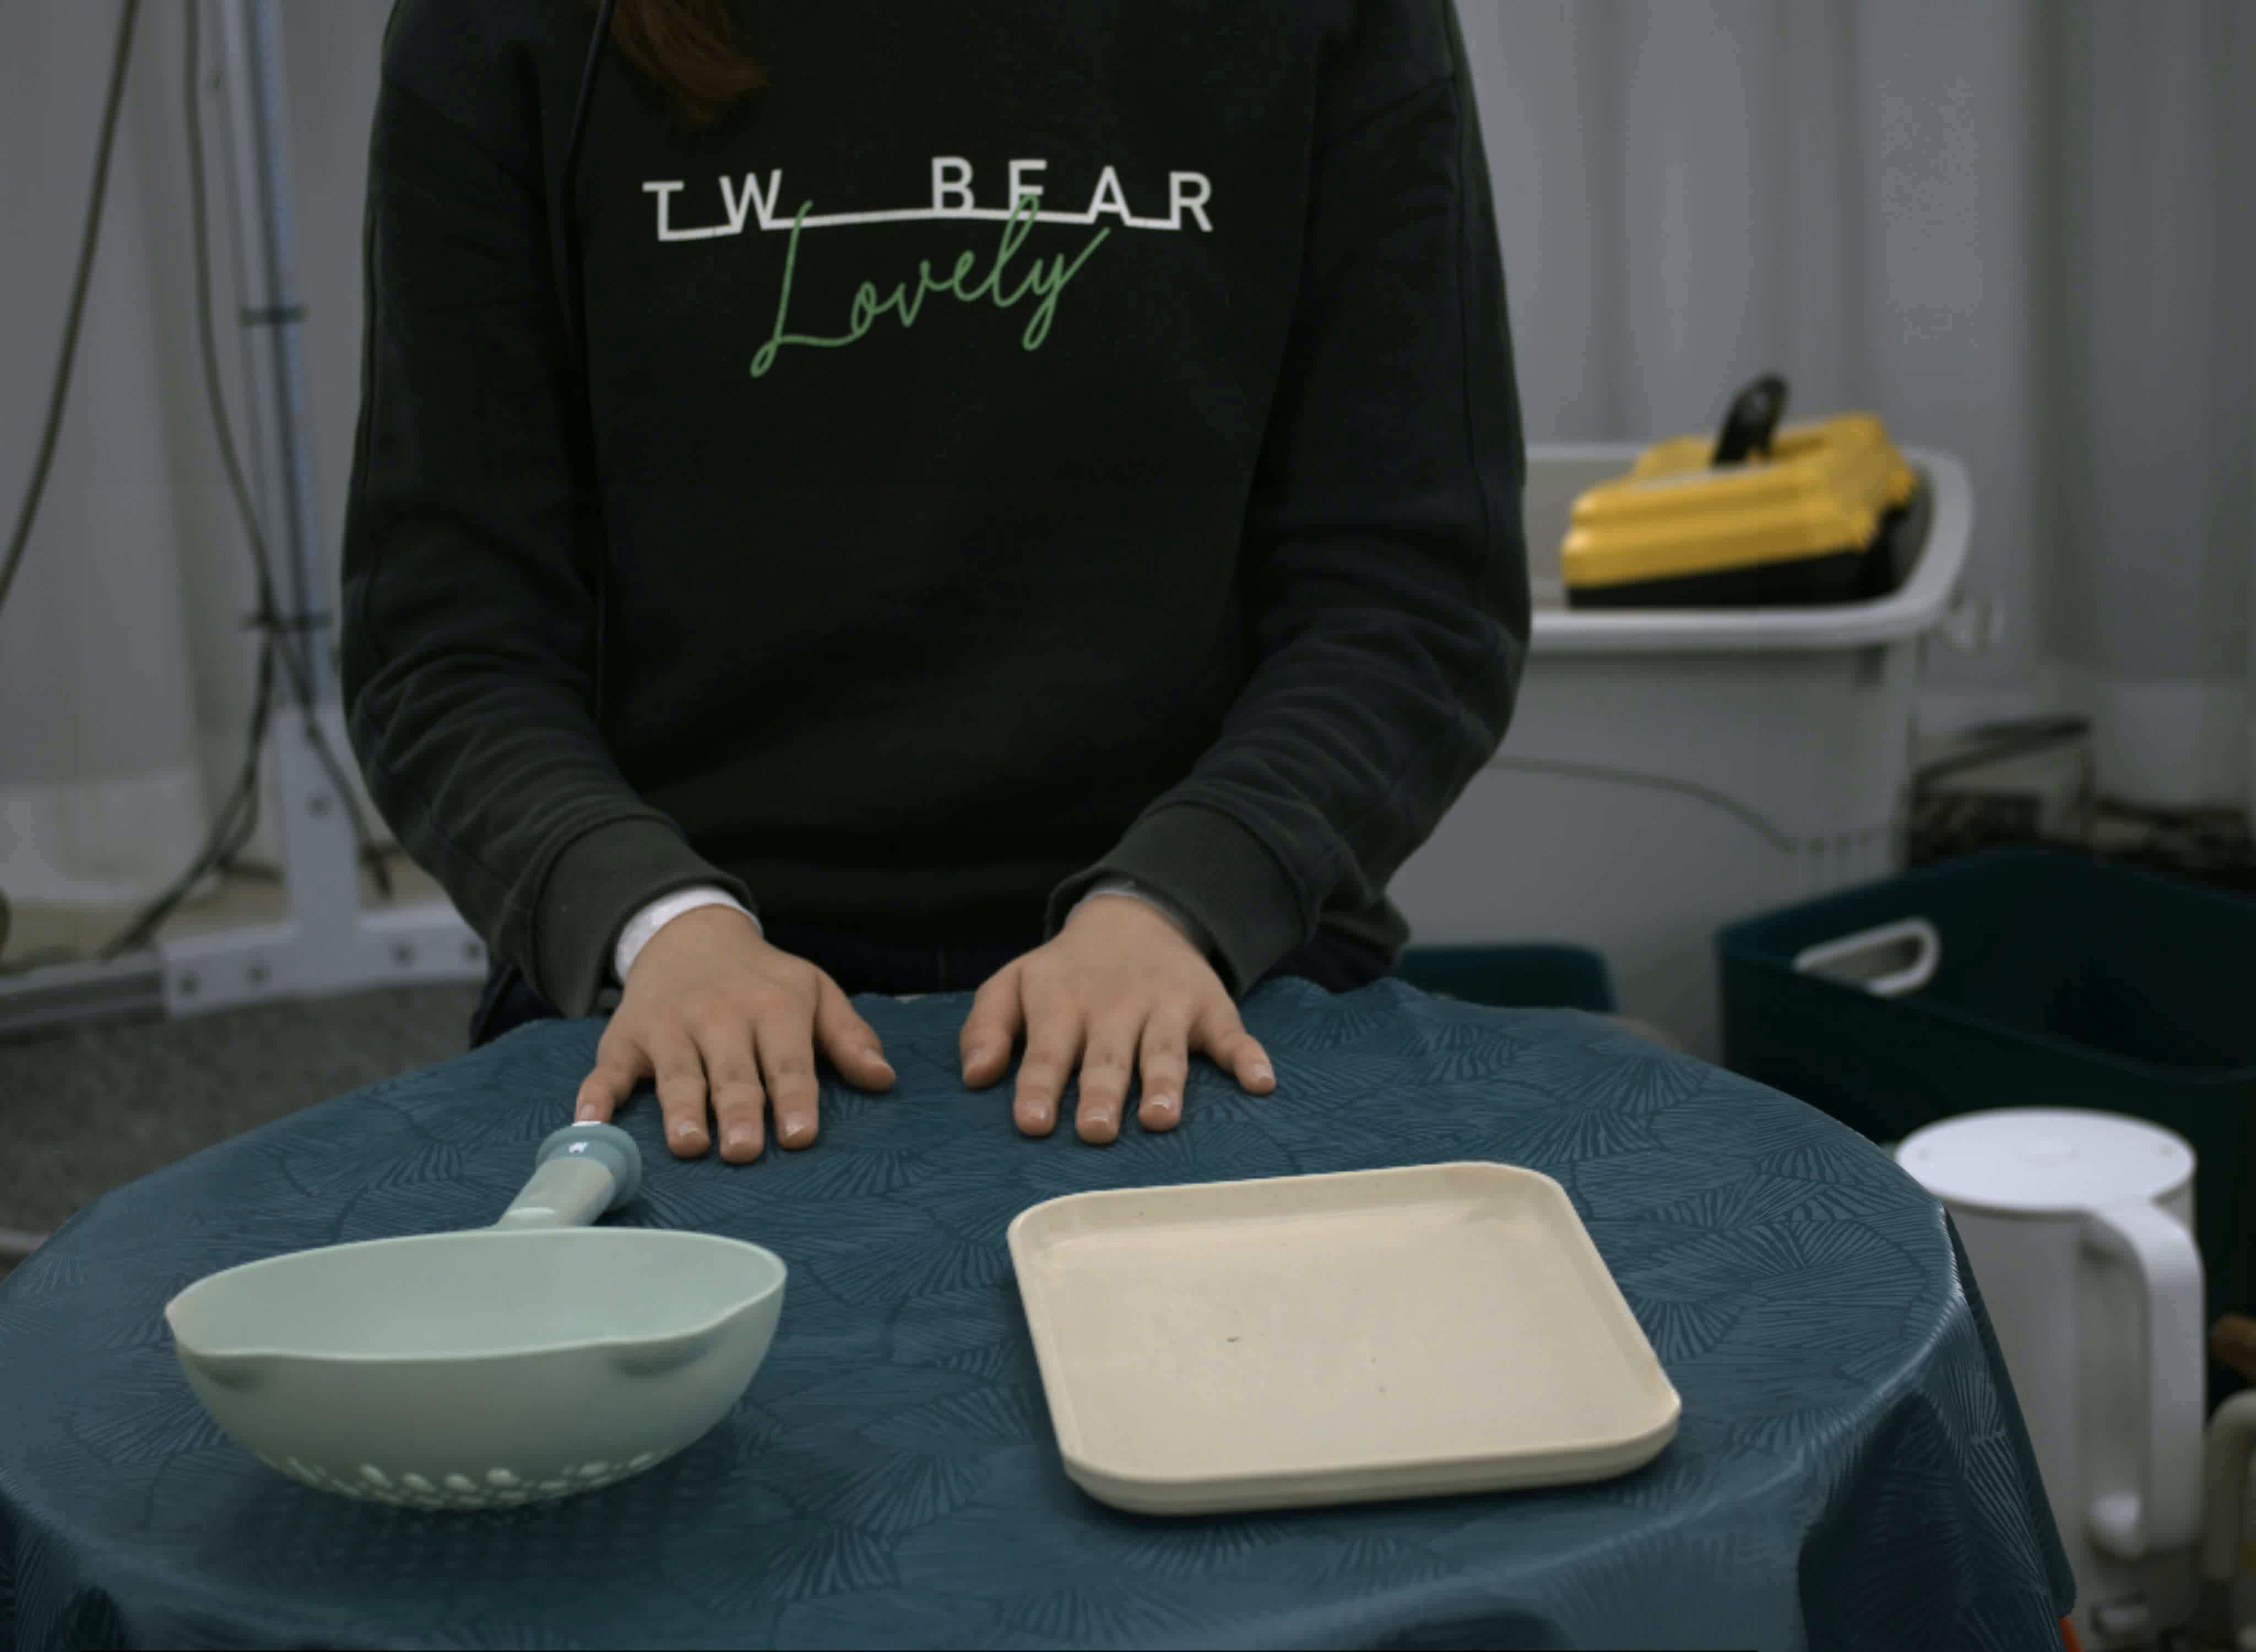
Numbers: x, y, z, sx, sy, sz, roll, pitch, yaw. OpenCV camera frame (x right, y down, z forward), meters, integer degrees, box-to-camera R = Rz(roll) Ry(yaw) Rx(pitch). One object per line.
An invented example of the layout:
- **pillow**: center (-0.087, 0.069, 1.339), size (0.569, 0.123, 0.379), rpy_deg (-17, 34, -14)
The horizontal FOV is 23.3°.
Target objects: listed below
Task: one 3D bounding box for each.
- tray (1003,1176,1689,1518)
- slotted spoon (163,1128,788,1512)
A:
- **tray**: center (0.057, 0.146, 1.554), size (0.170, 0.017, 0.241), rpy_deg (-4, 14, -5)
- **slotted spoon**: center (-0.172, 0.127, 1.581), size (0.169, 0.075, 0.361), rpy_deg (-1, 14, 2)
